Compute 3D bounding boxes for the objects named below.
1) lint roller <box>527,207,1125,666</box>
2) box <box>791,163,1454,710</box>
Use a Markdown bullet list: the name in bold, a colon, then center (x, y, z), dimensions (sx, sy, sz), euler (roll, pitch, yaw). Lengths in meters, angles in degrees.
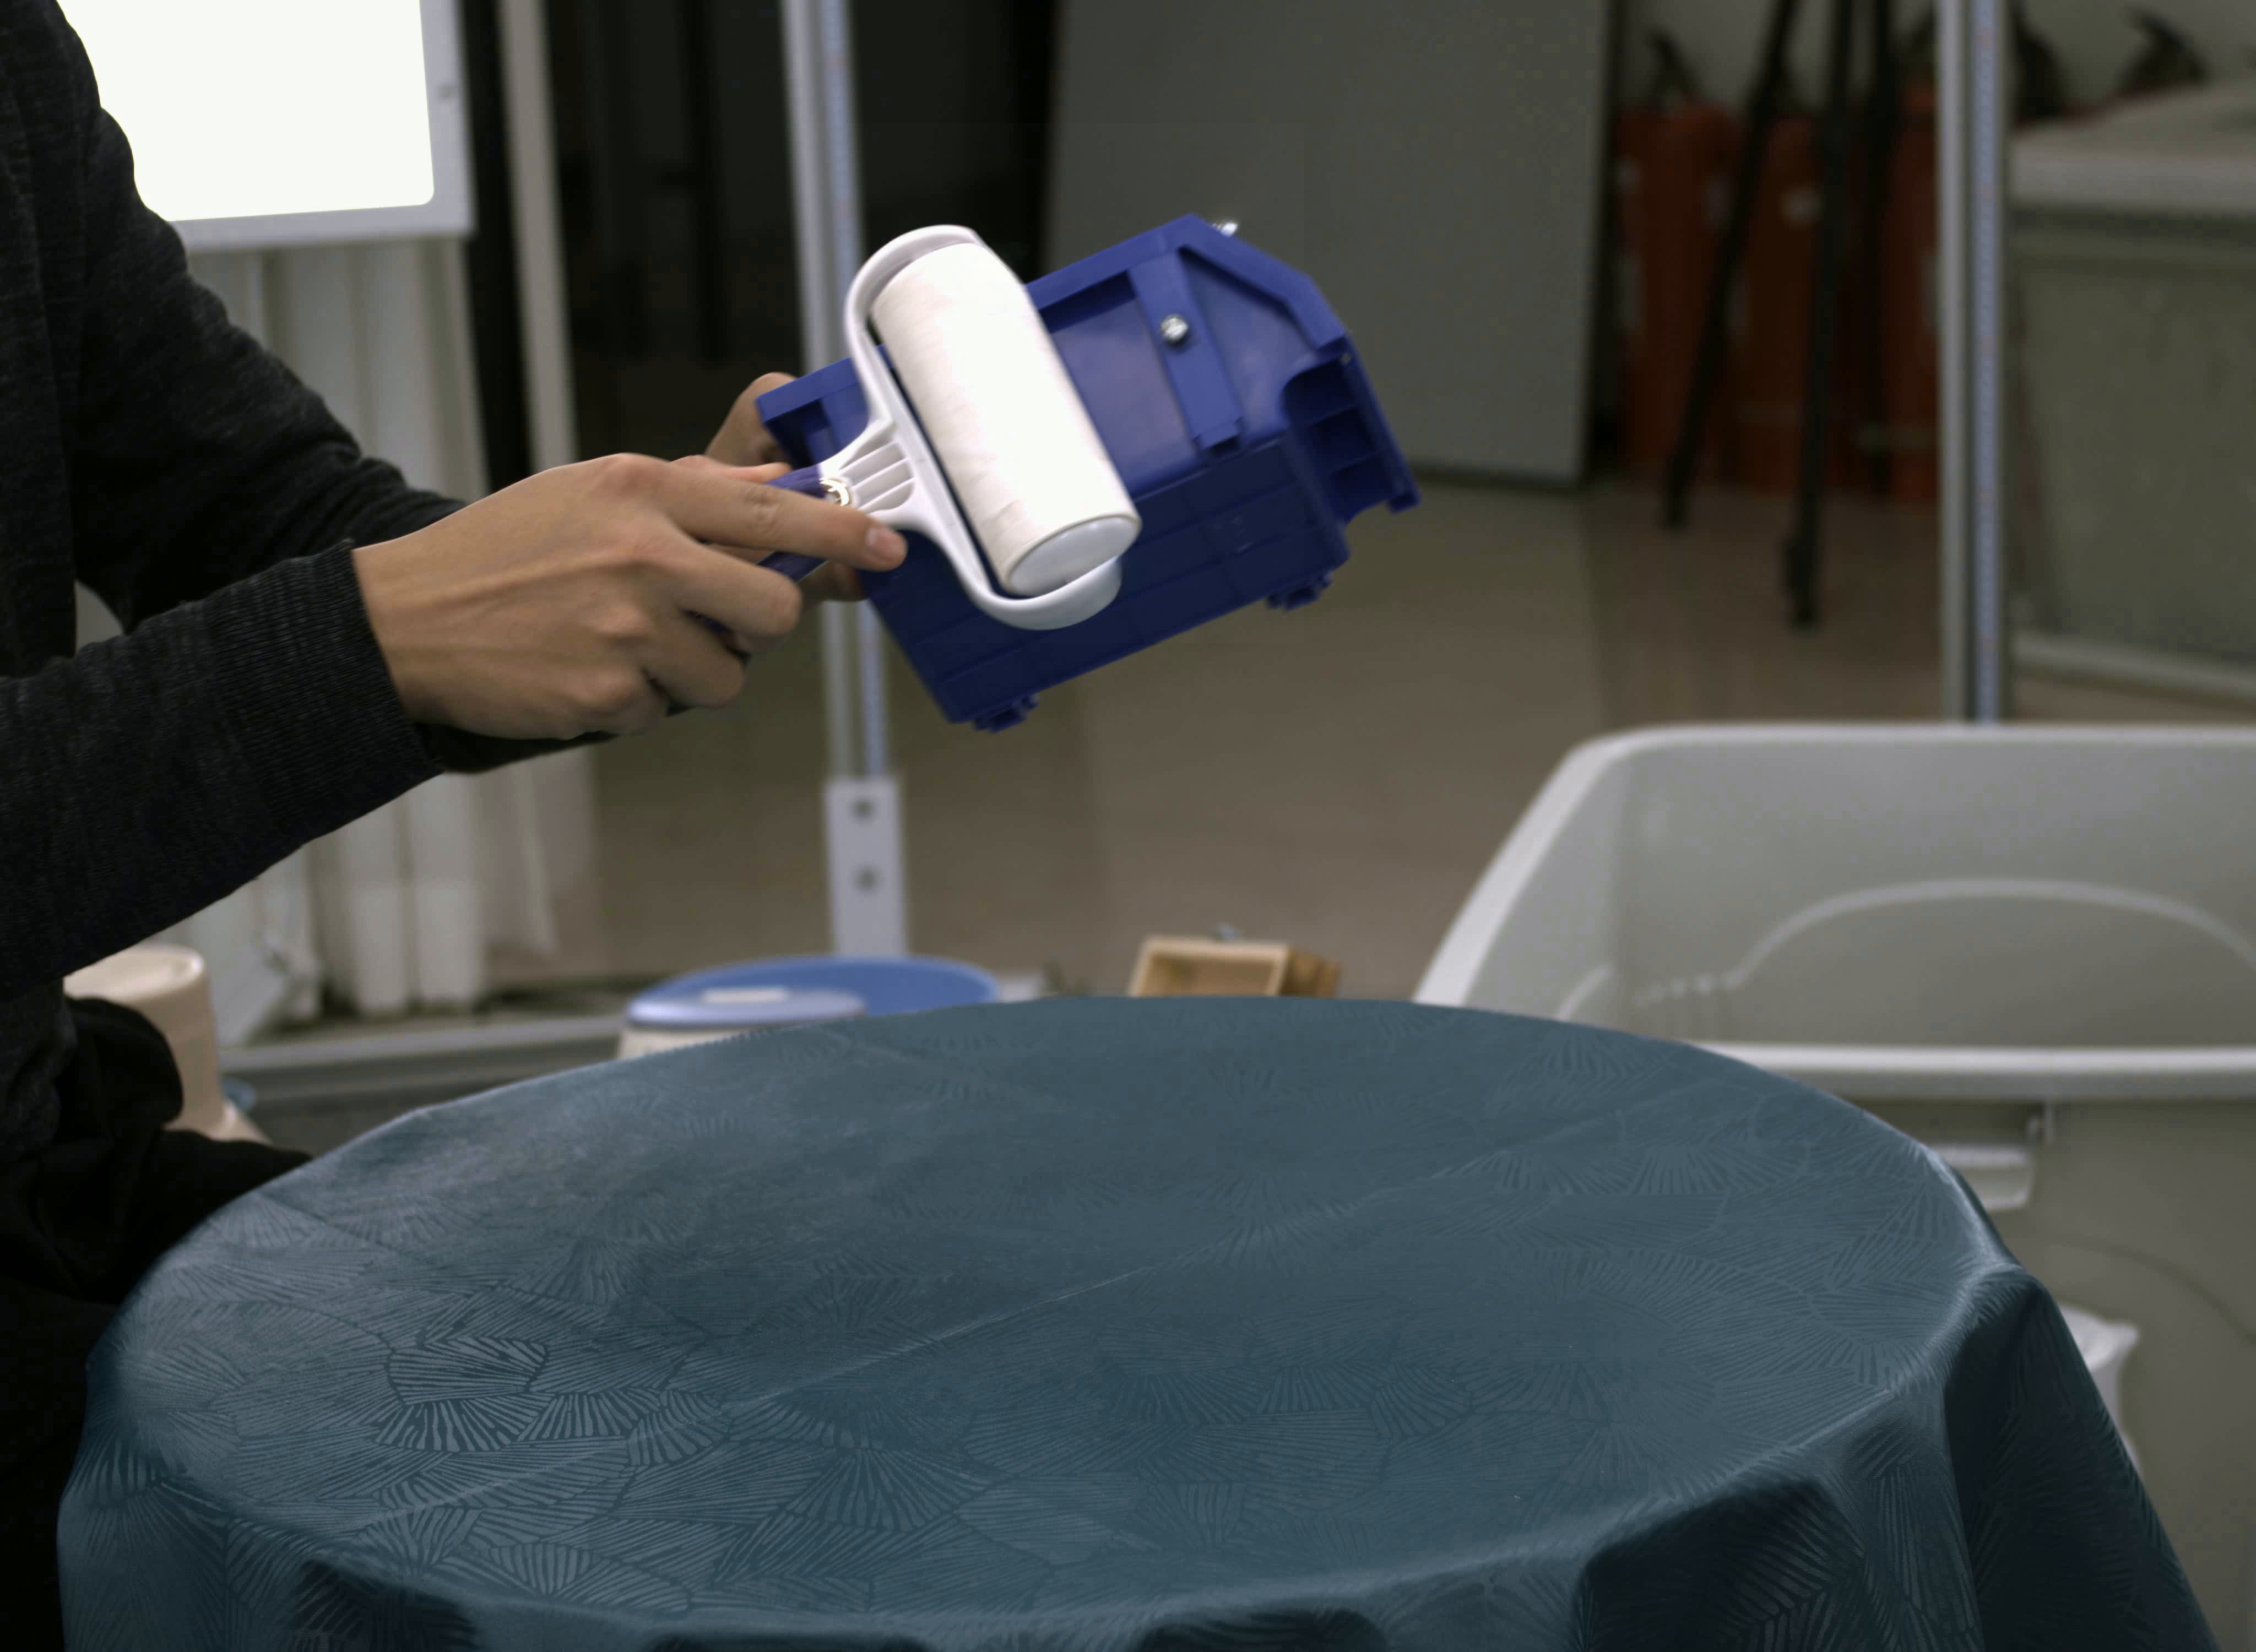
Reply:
- **lint roller**: center (-0.101, -0.101, 1.629), dimensions (0.178, 0.134, 0.050), euler (-23, -19, -6)
- **box**: center (0.004, -0.122, 1.706), dimensions (0.178, 0.083, 0.123), euler (-27, -28, 5)
